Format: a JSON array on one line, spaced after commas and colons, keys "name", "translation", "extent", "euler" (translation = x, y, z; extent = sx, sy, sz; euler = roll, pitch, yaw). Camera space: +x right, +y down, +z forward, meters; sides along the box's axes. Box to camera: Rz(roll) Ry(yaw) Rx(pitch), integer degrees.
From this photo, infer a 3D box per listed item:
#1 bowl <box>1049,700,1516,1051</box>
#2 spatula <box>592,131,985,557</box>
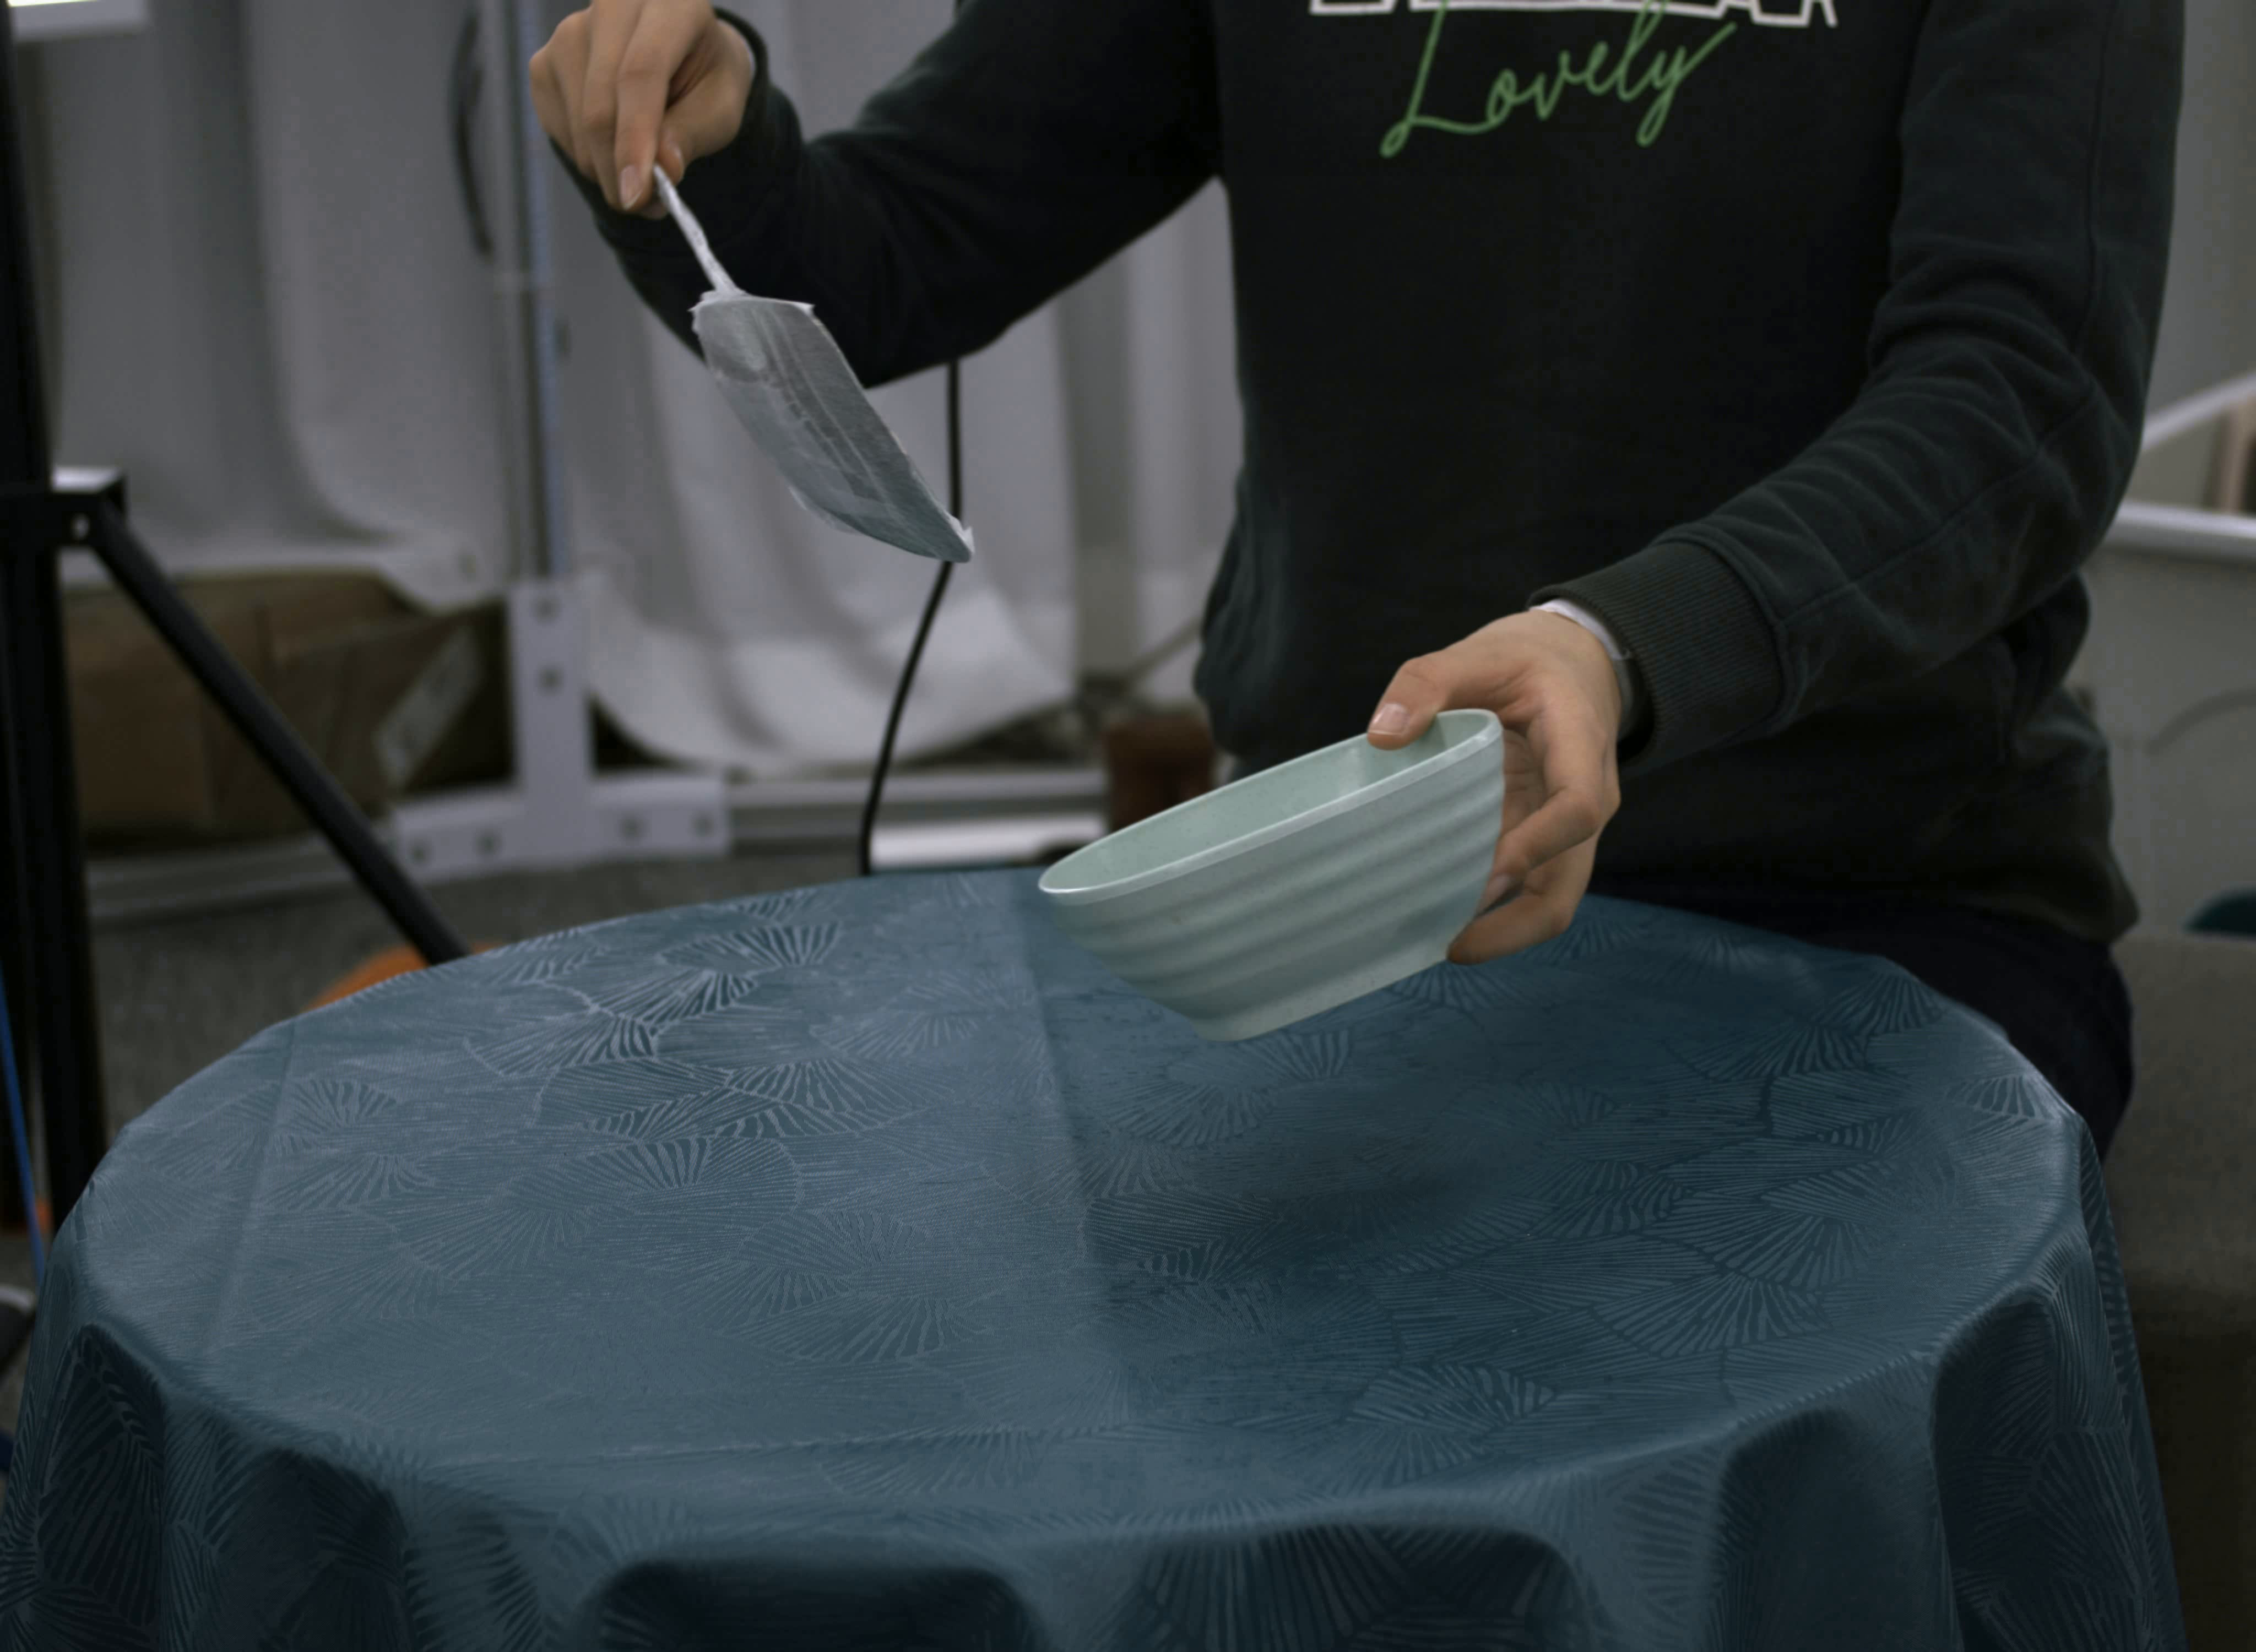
[{"name": "bowl", "translation": [0.052, 0.019, 1.511], "extent": [0.151, 0.058, 0.152], "euler": [-22, 9, 2]}, {"name": "spatula", "translation": [-0.121, -0.168, 1.652], "extent": [0.045, 0.097, 0.370], "euler": [-35, 28, 2]}]
